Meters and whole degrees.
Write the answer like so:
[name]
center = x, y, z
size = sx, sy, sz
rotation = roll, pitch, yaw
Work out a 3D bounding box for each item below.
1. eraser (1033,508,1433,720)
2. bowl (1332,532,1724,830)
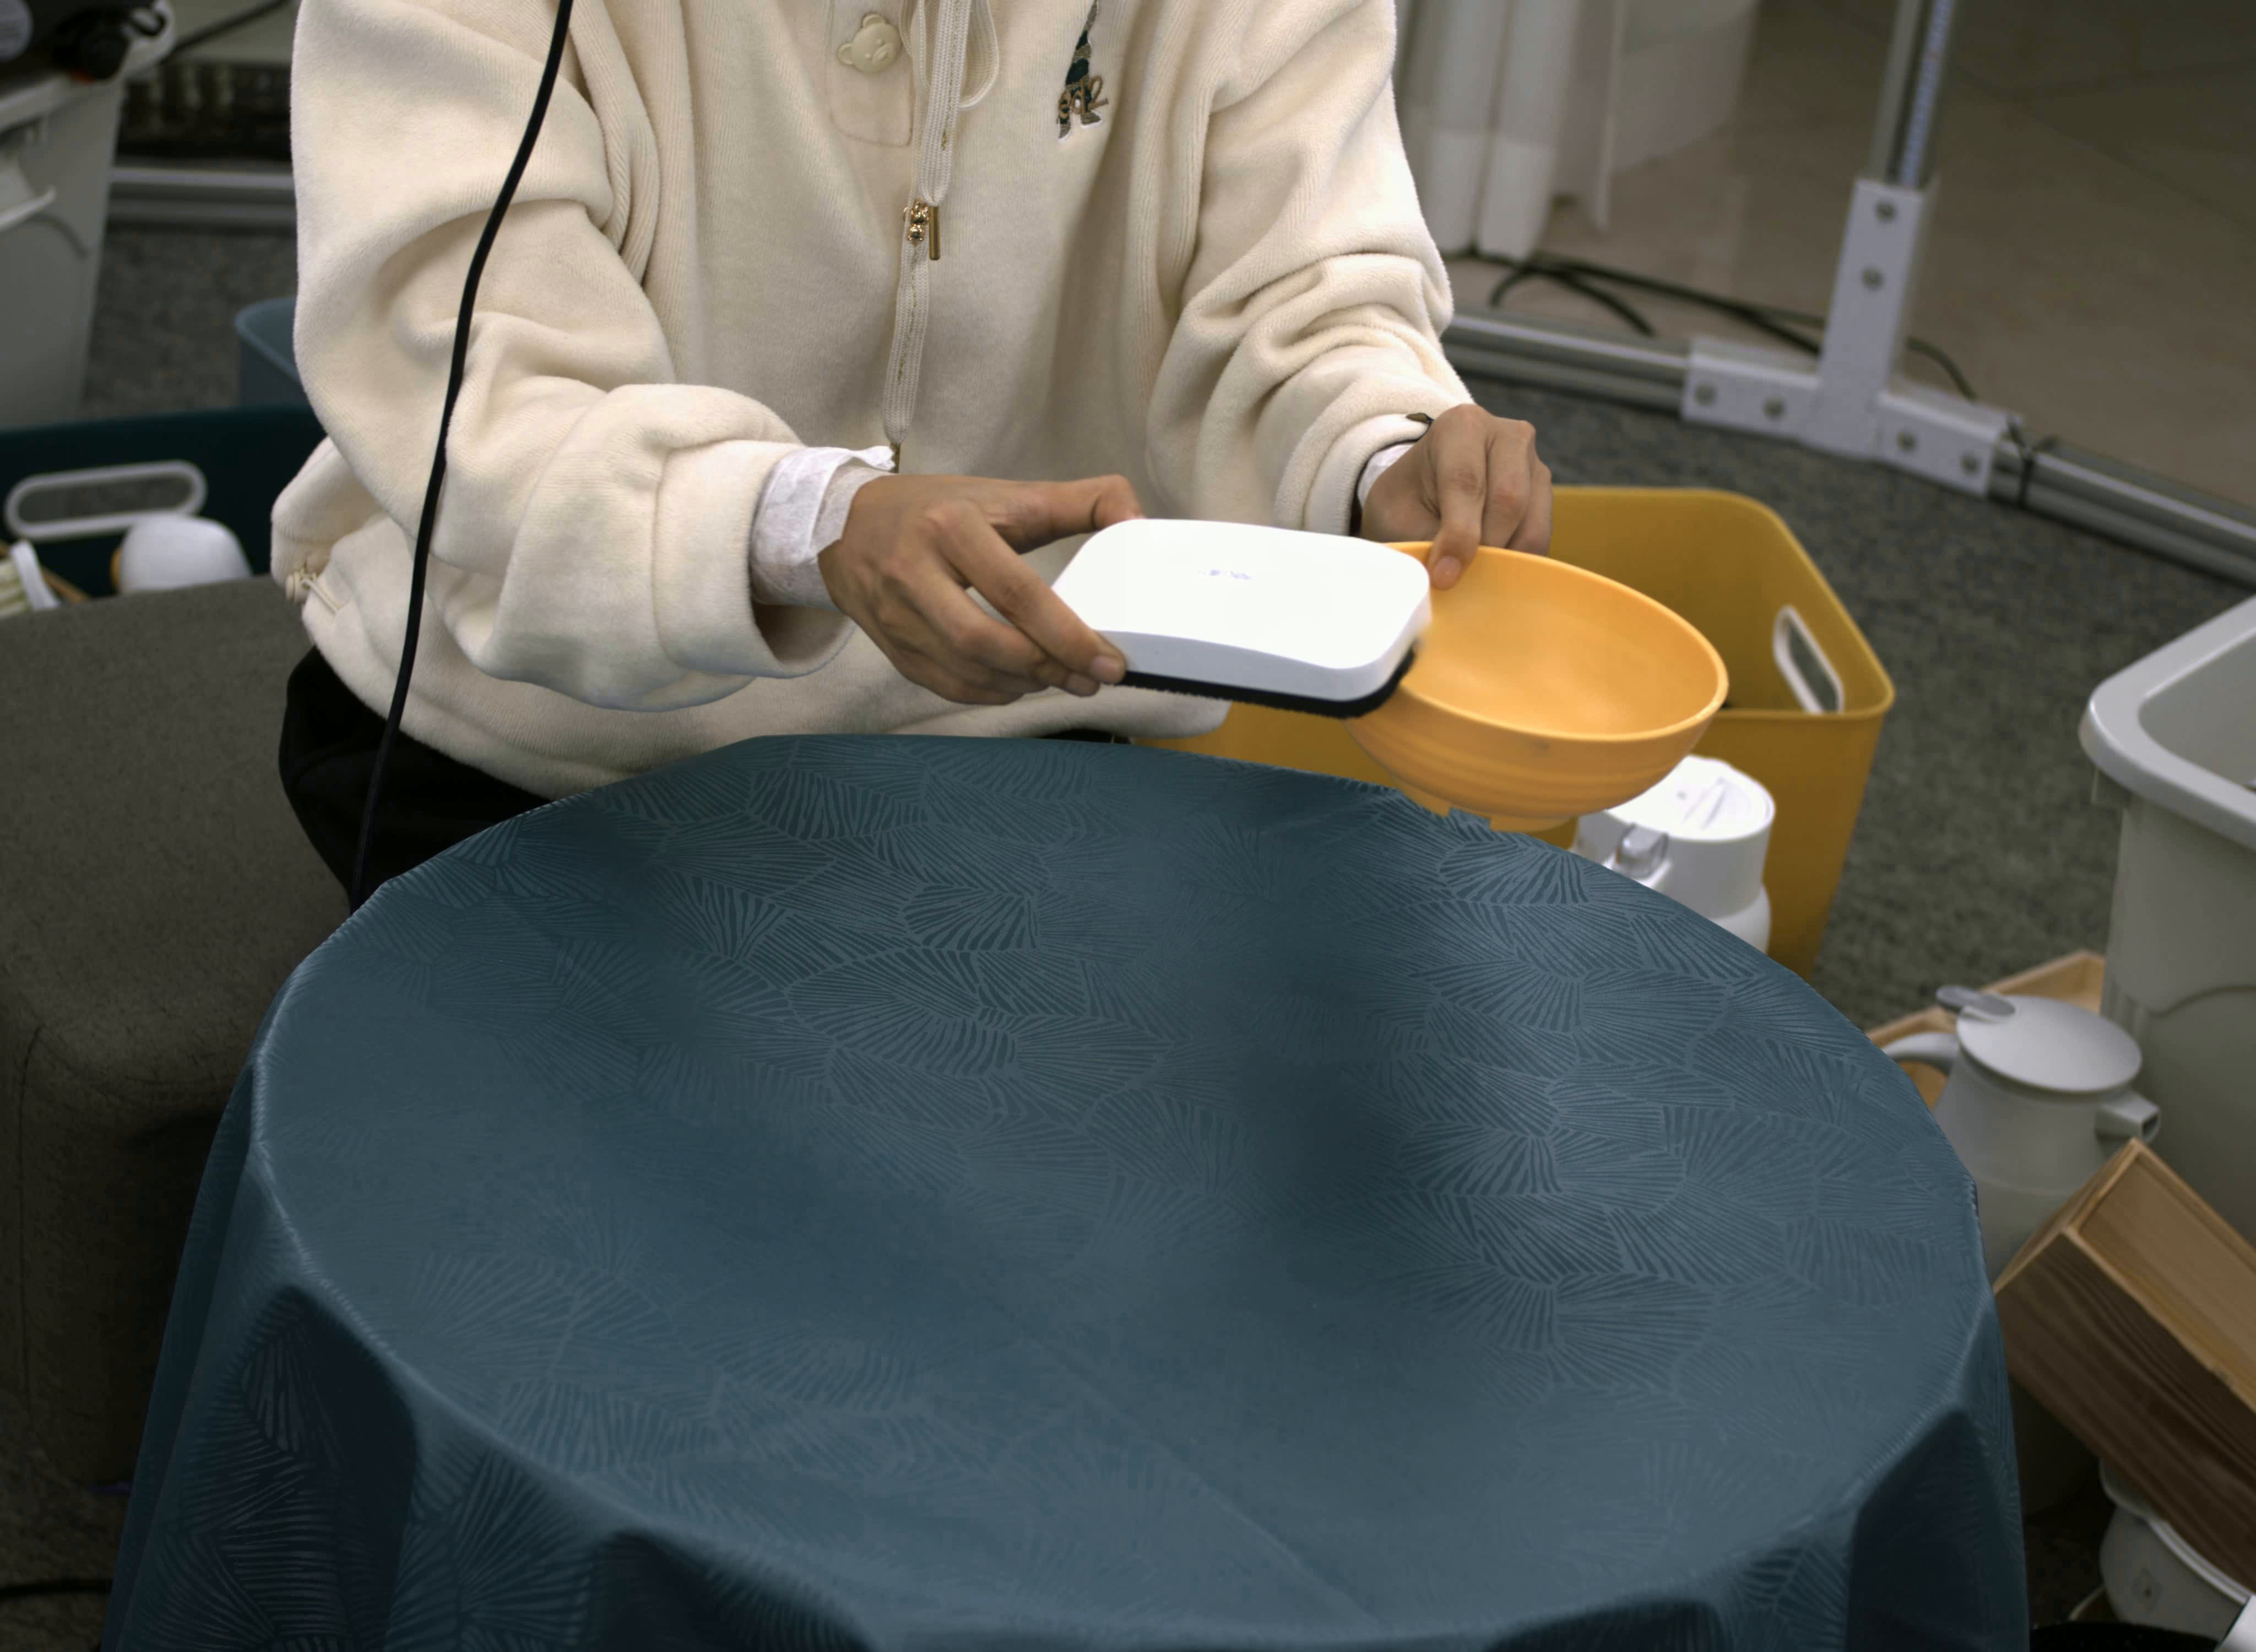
[eraser]
center = 0.035, -0.071, 1.756
size = 0.132, 0.034, 0.063
rotation = 10, 43, 30
[bowl]
center = 0.125, -0.040, 1.804
size = 0.145, 0.060, 0.146
rotation = 10, 28, -6
